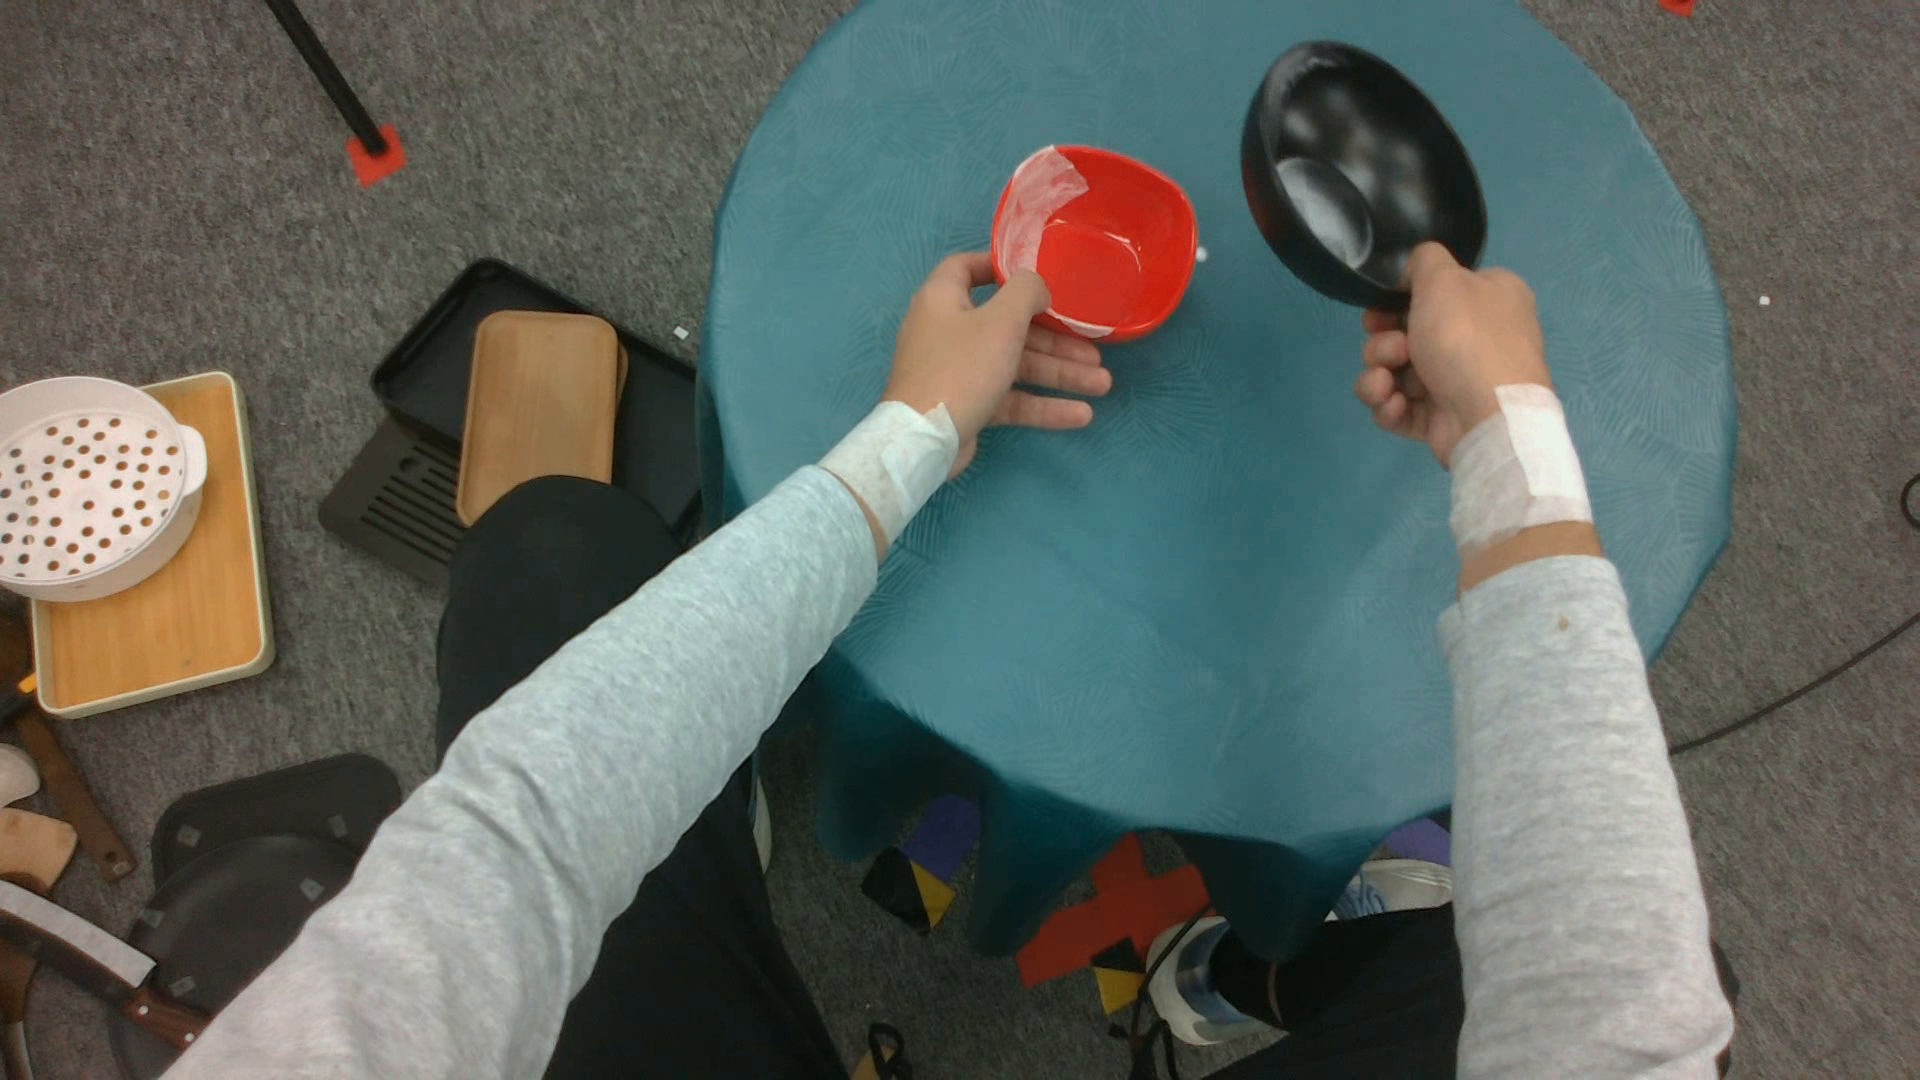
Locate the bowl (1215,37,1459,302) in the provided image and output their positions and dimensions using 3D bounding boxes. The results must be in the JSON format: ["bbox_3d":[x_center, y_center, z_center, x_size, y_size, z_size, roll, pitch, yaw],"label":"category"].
[{"bbox_3d":[0.180,-0.177,0.689,0.140,0.049,0.140,8,71,-24],"label":"bowl"}]

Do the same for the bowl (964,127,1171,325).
[{"bbox_3d":[0.055,-0.164,0.760,0.119,0.051,0.119,2,72,-7],"label":"bowl"}]
